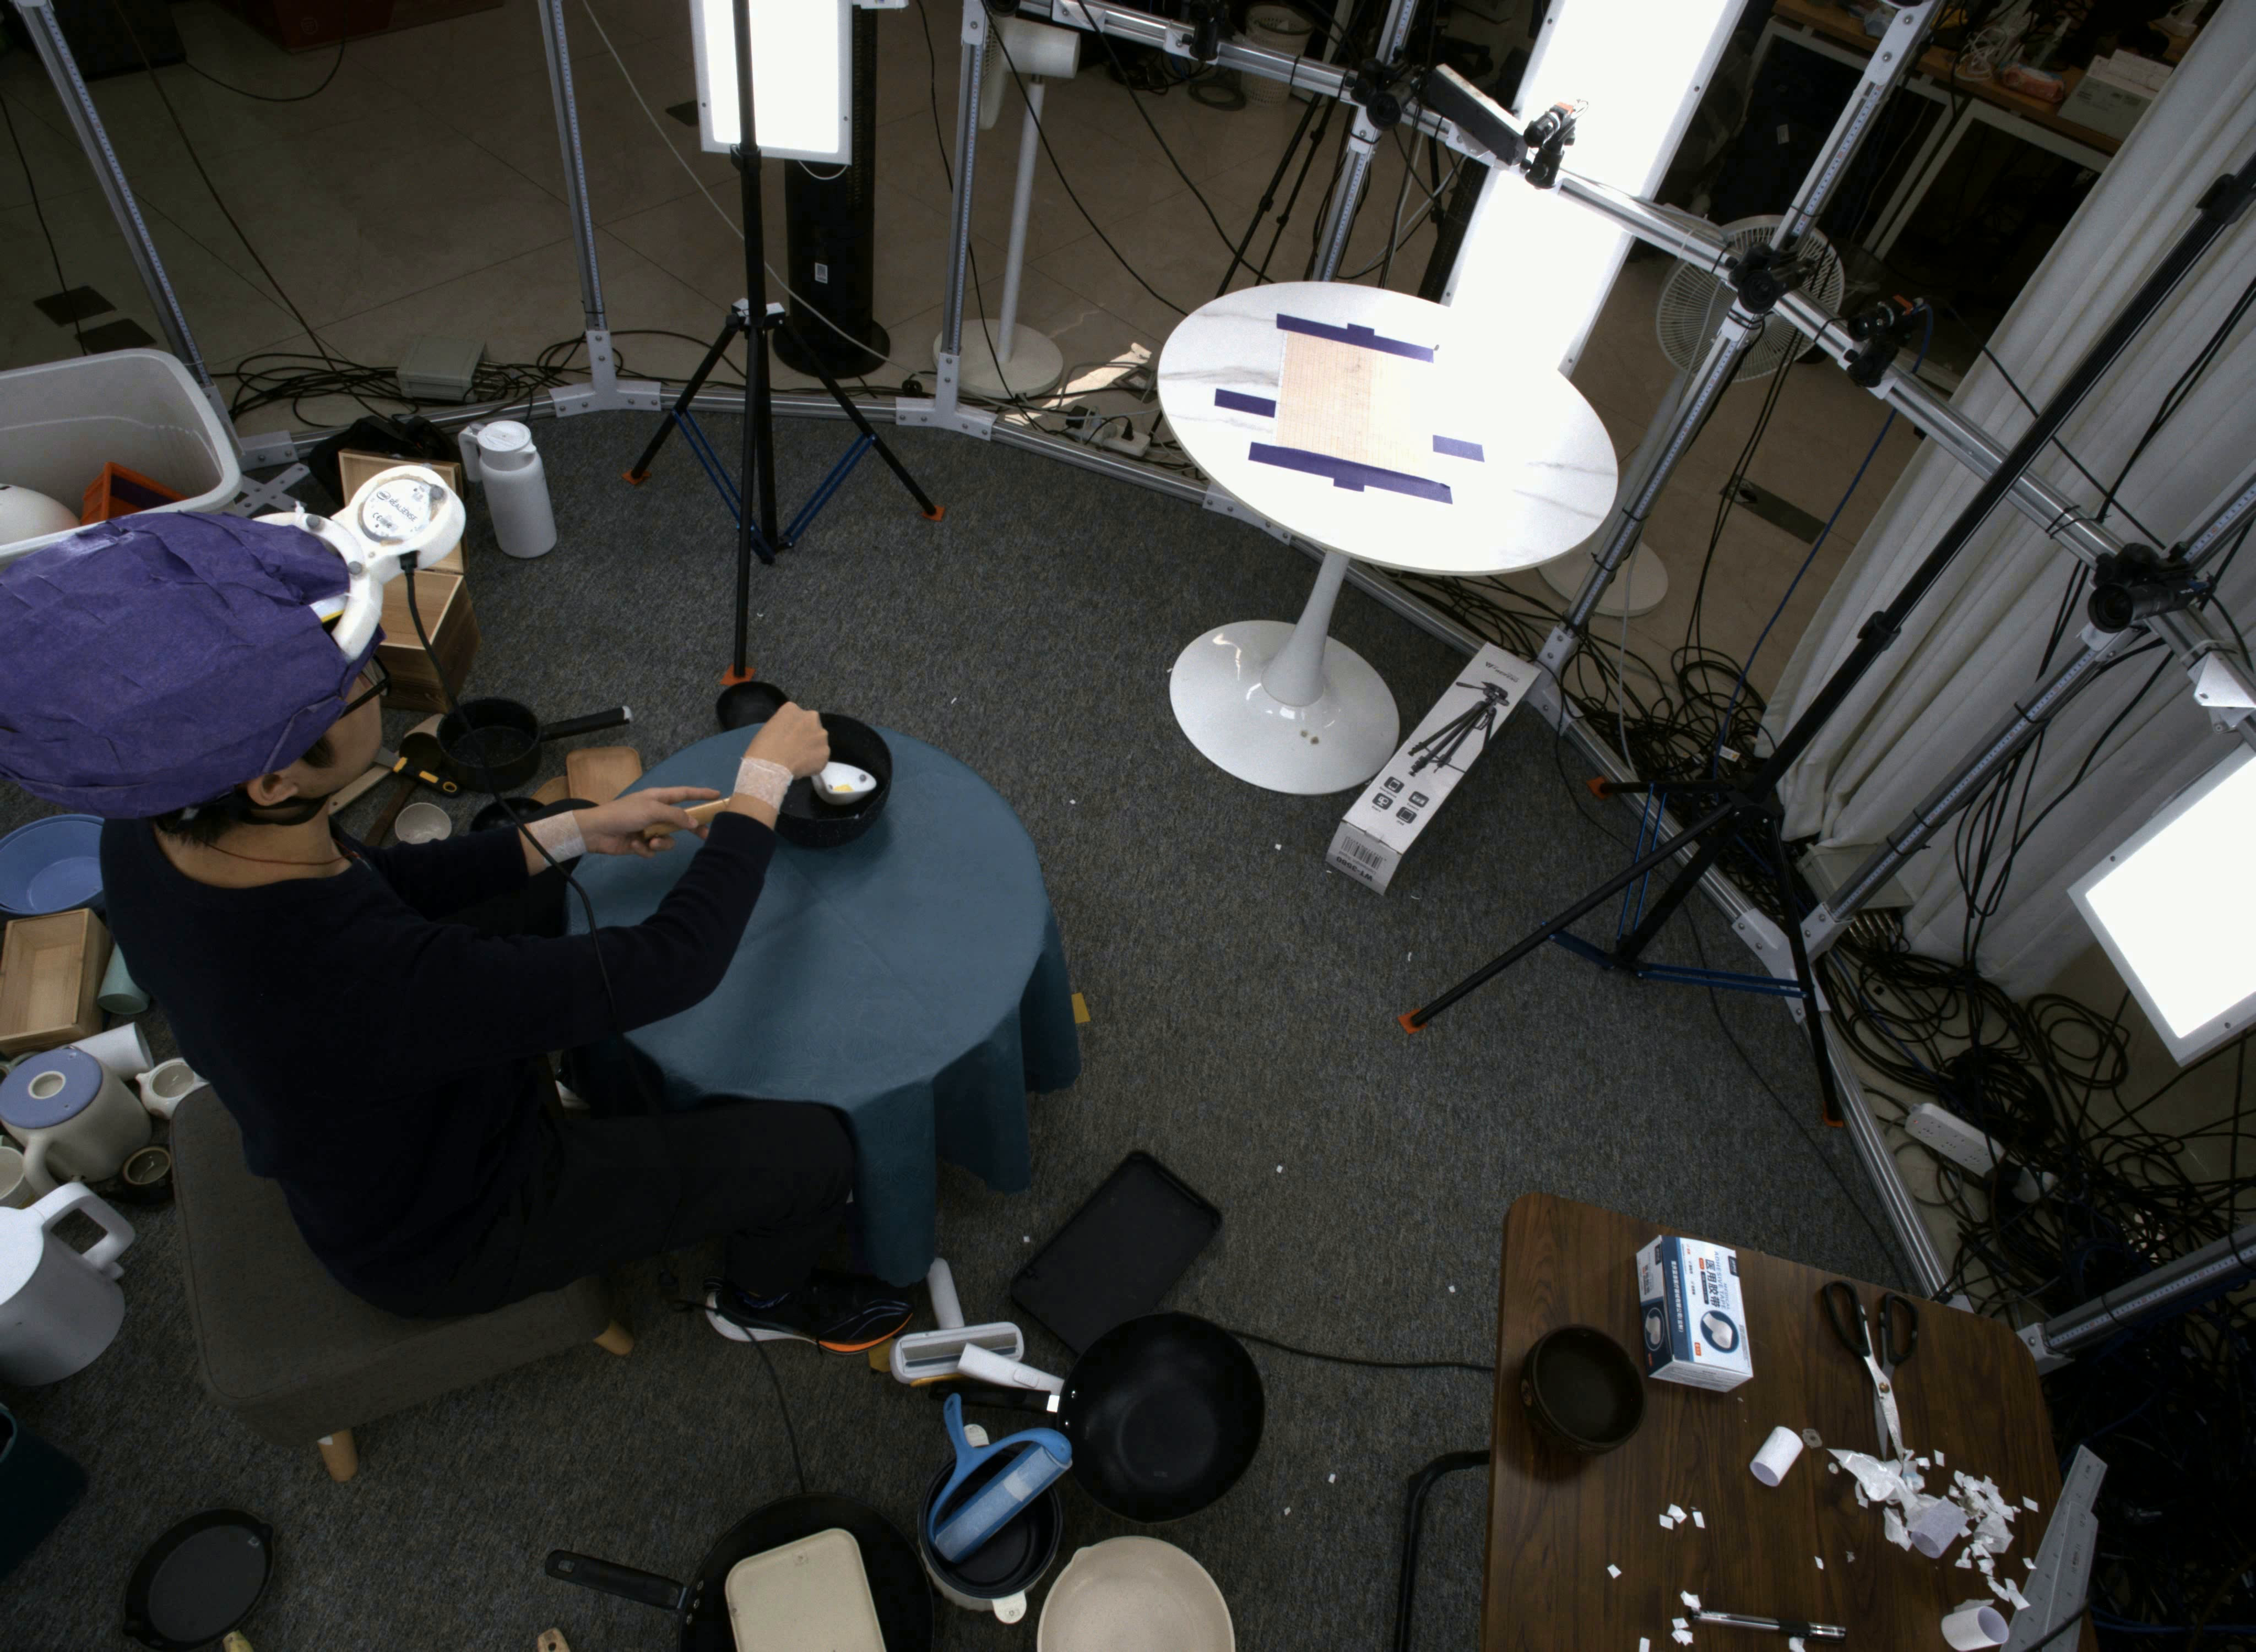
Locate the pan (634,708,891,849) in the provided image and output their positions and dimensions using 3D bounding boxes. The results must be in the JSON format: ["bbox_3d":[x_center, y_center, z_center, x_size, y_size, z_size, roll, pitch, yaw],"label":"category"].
[{"bbox_3d":[-0.465,-0.033,1.657,0.344,0.110,0.203,-27,65,-32],"label":"pan"}]

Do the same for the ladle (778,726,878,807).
[{"bbox_3d":[-0.378,-0.083,1.618,0.089,0.295,0.070,28,78,5],"label":"ladle"}]
